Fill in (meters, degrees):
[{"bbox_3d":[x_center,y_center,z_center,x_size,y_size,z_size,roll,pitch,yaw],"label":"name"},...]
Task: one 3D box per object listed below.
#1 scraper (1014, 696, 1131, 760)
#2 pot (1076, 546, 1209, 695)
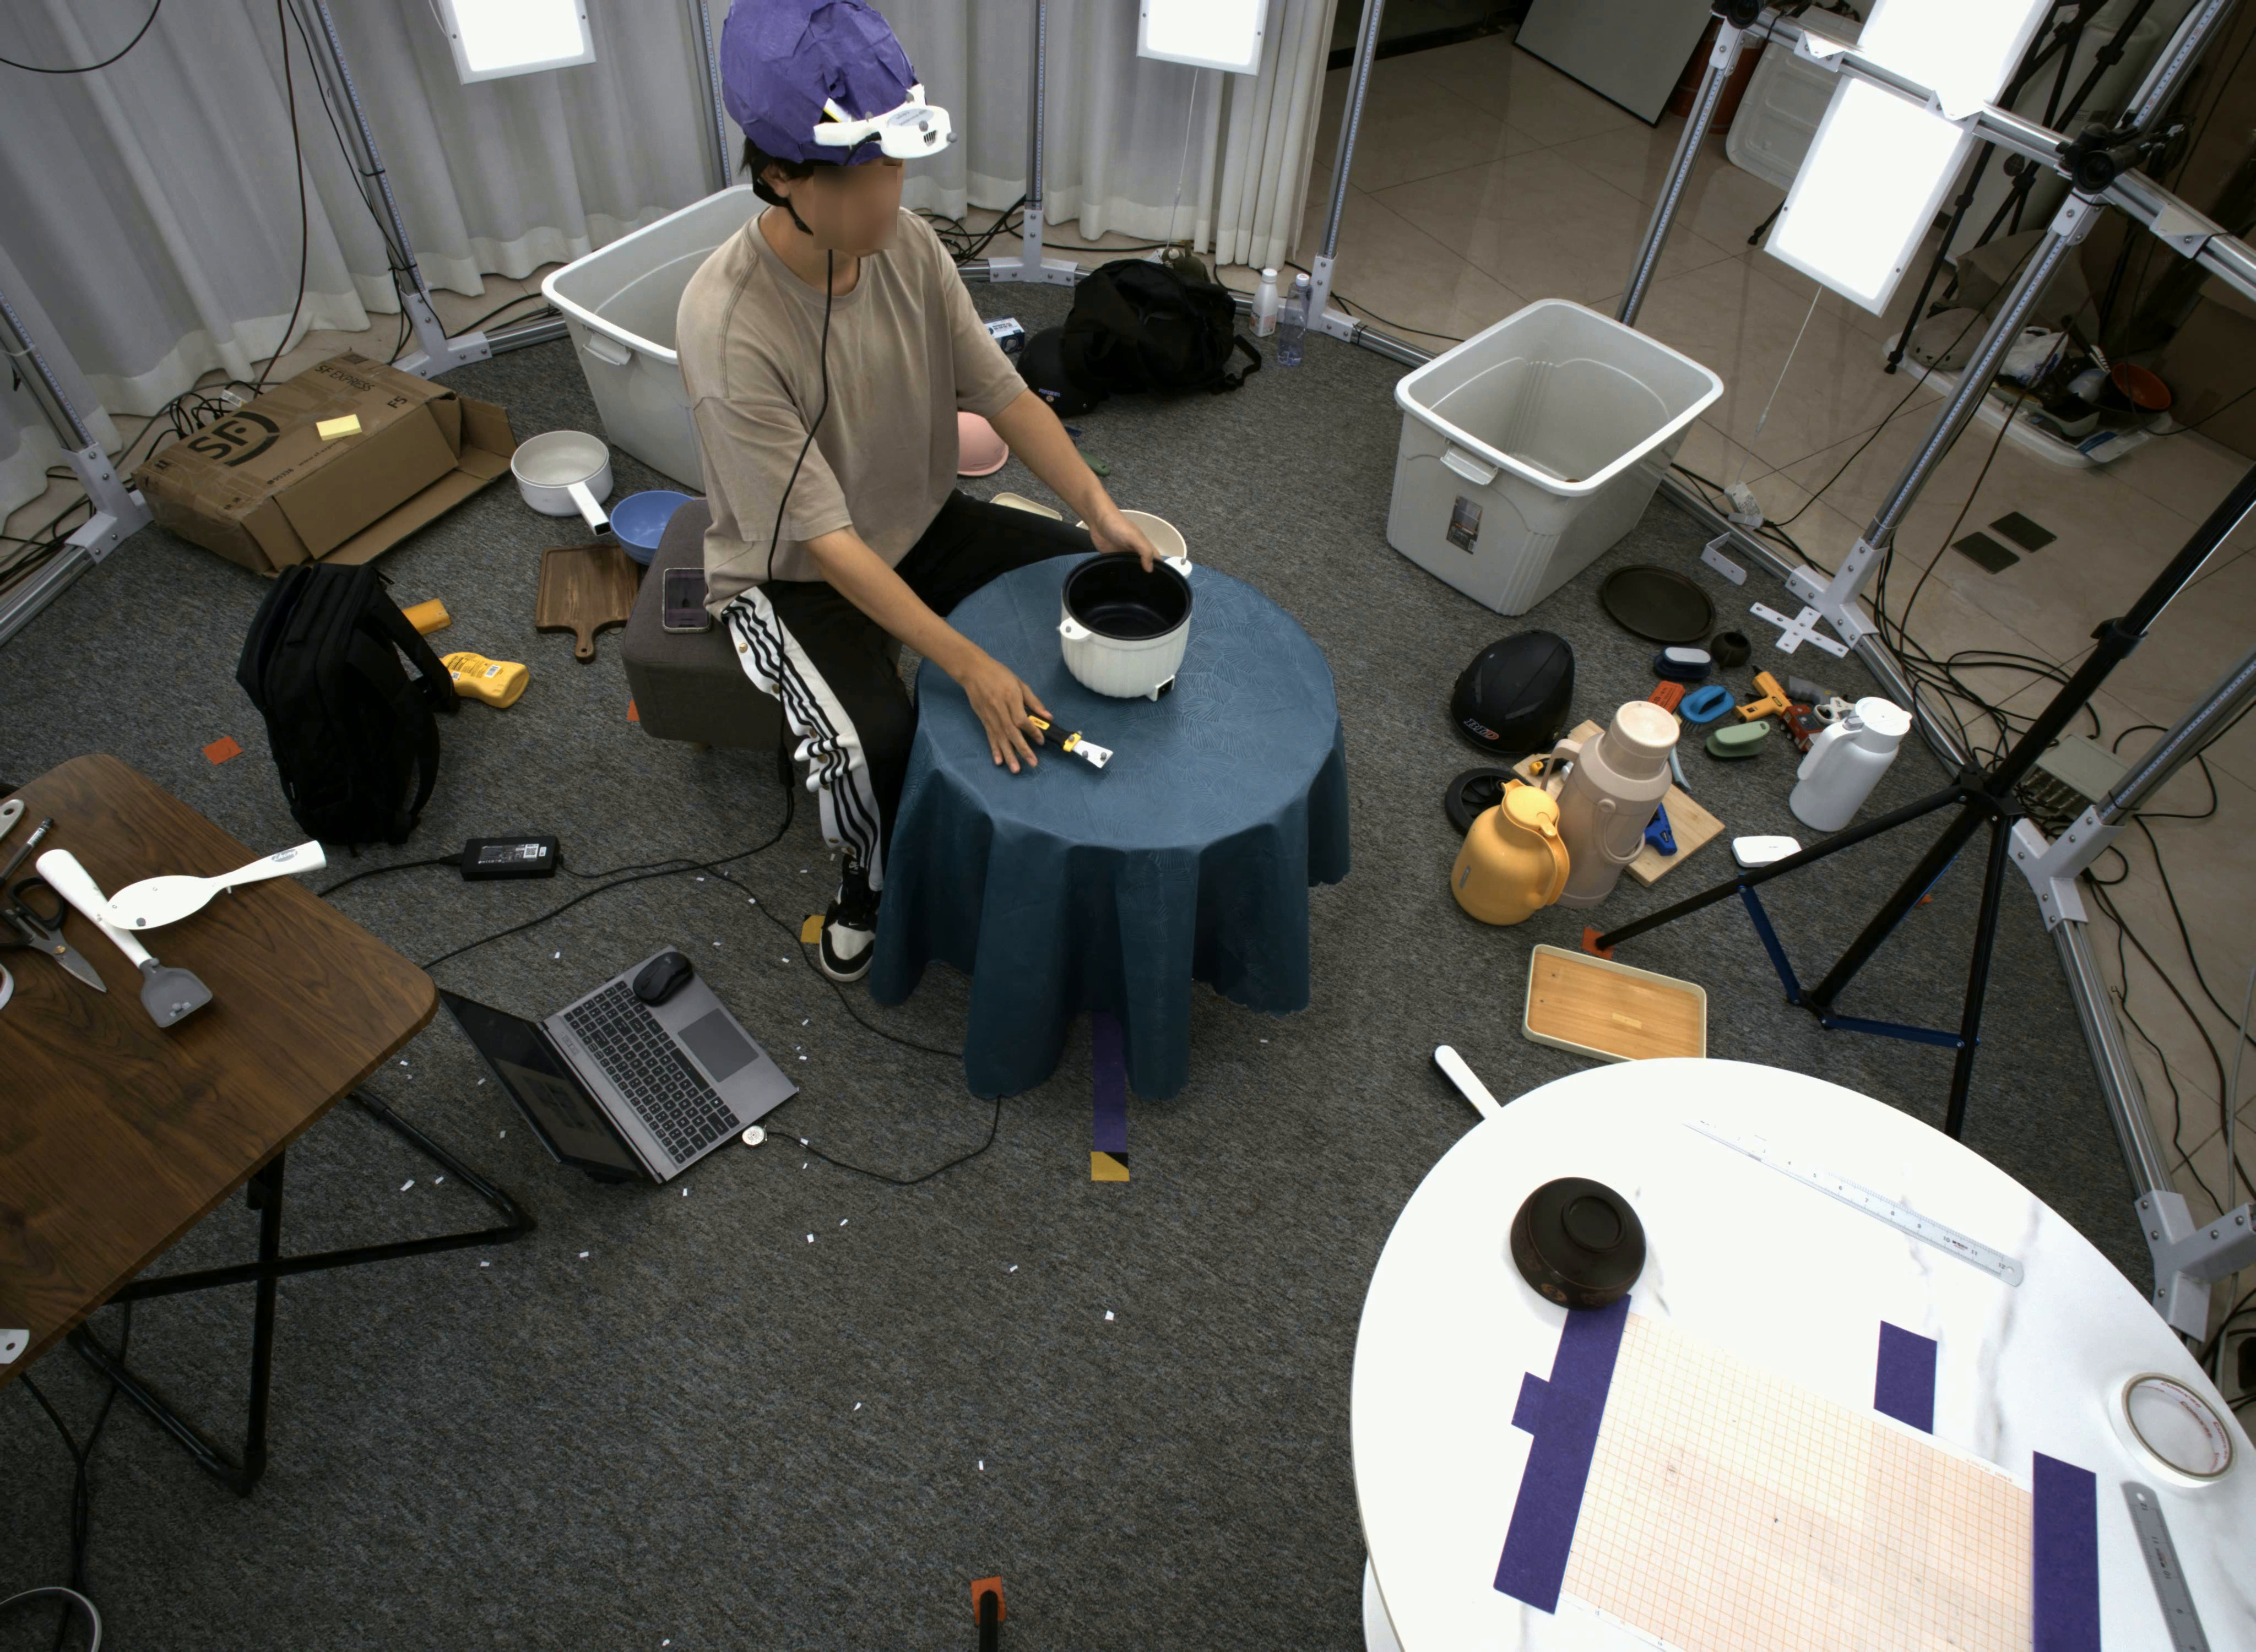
[{"bbox_3d":[-0.078,-0.134,1.729,0.172,0.014,0.039,25,57,16],"label":"scraper"},{"bbox_3d":[0.011,-0.286,1.814,0.193,0.139,0.242,40,55,22],"label":"pot"}]
